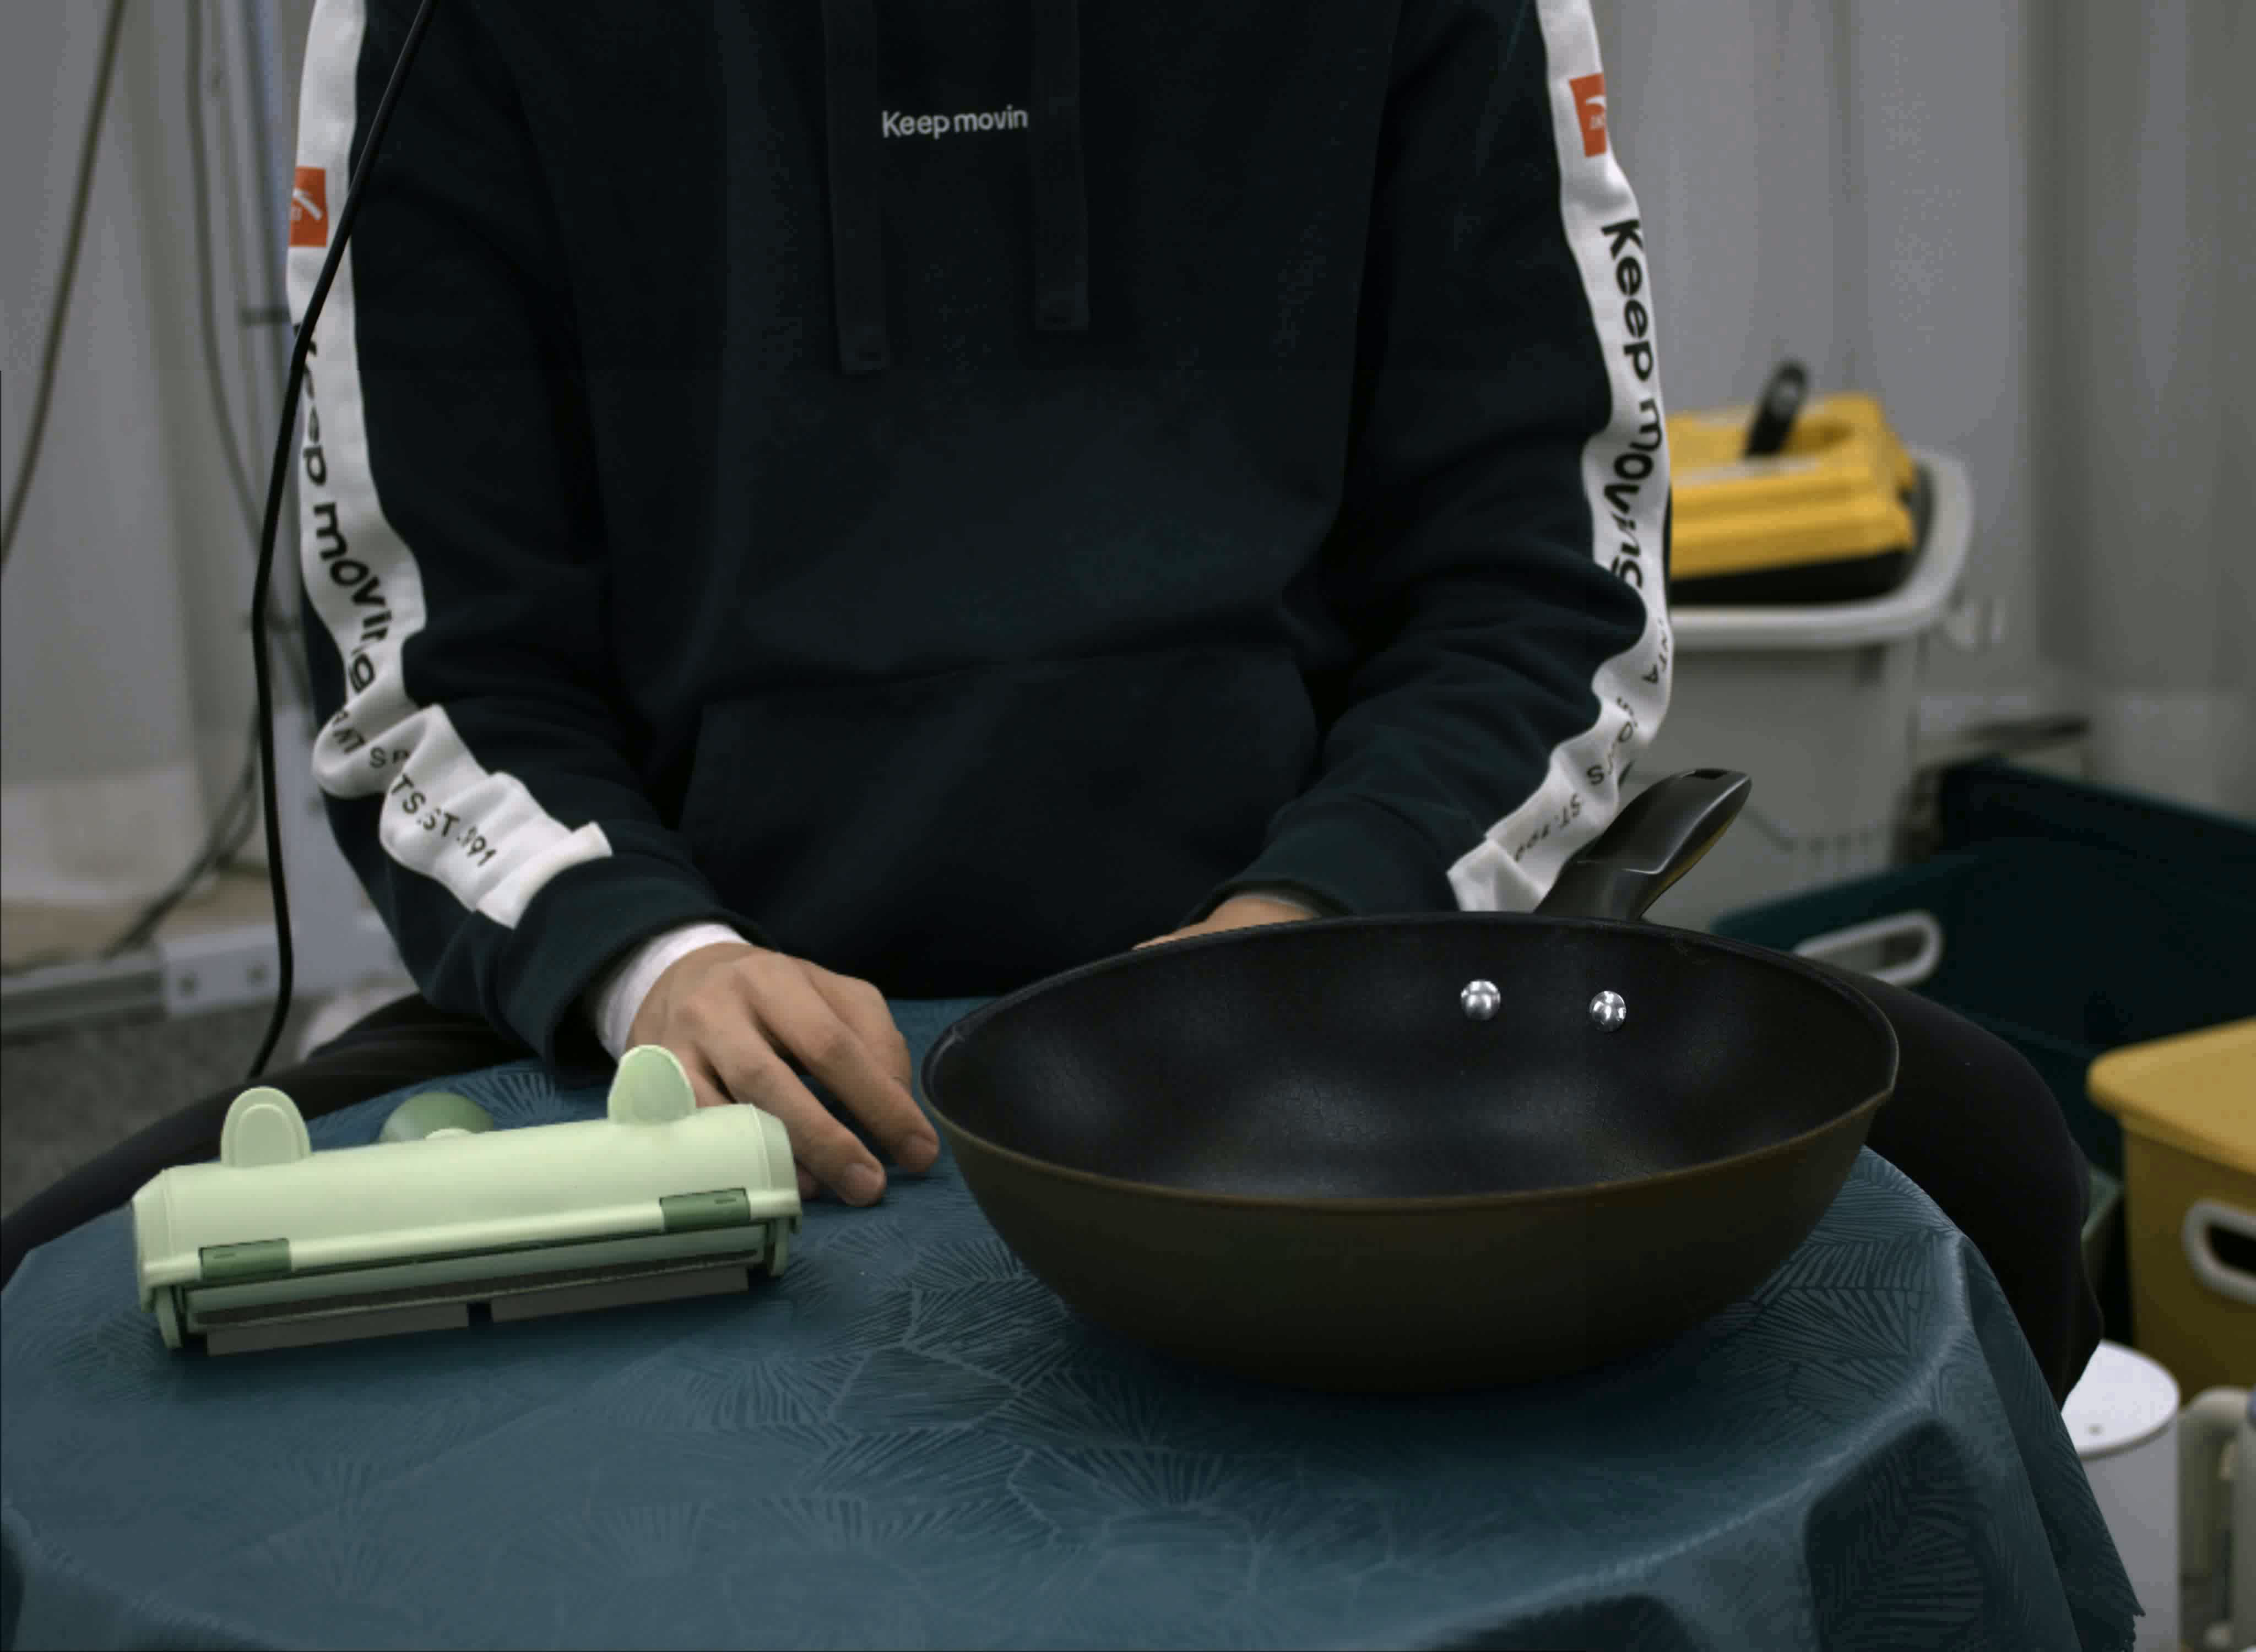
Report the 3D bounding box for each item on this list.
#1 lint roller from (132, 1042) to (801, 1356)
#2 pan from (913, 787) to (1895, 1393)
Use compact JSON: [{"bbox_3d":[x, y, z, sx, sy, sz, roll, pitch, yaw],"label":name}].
[{"bbox_3d":[-0.209,0.095,1.685,0.198,0.081,0.185,-6,20,-10],"label":"lint roller"},{"bbox_3d":[0.113,0.078,1.668,0.288,0.086,0.464,3,15,21],"label":"pan"}]
